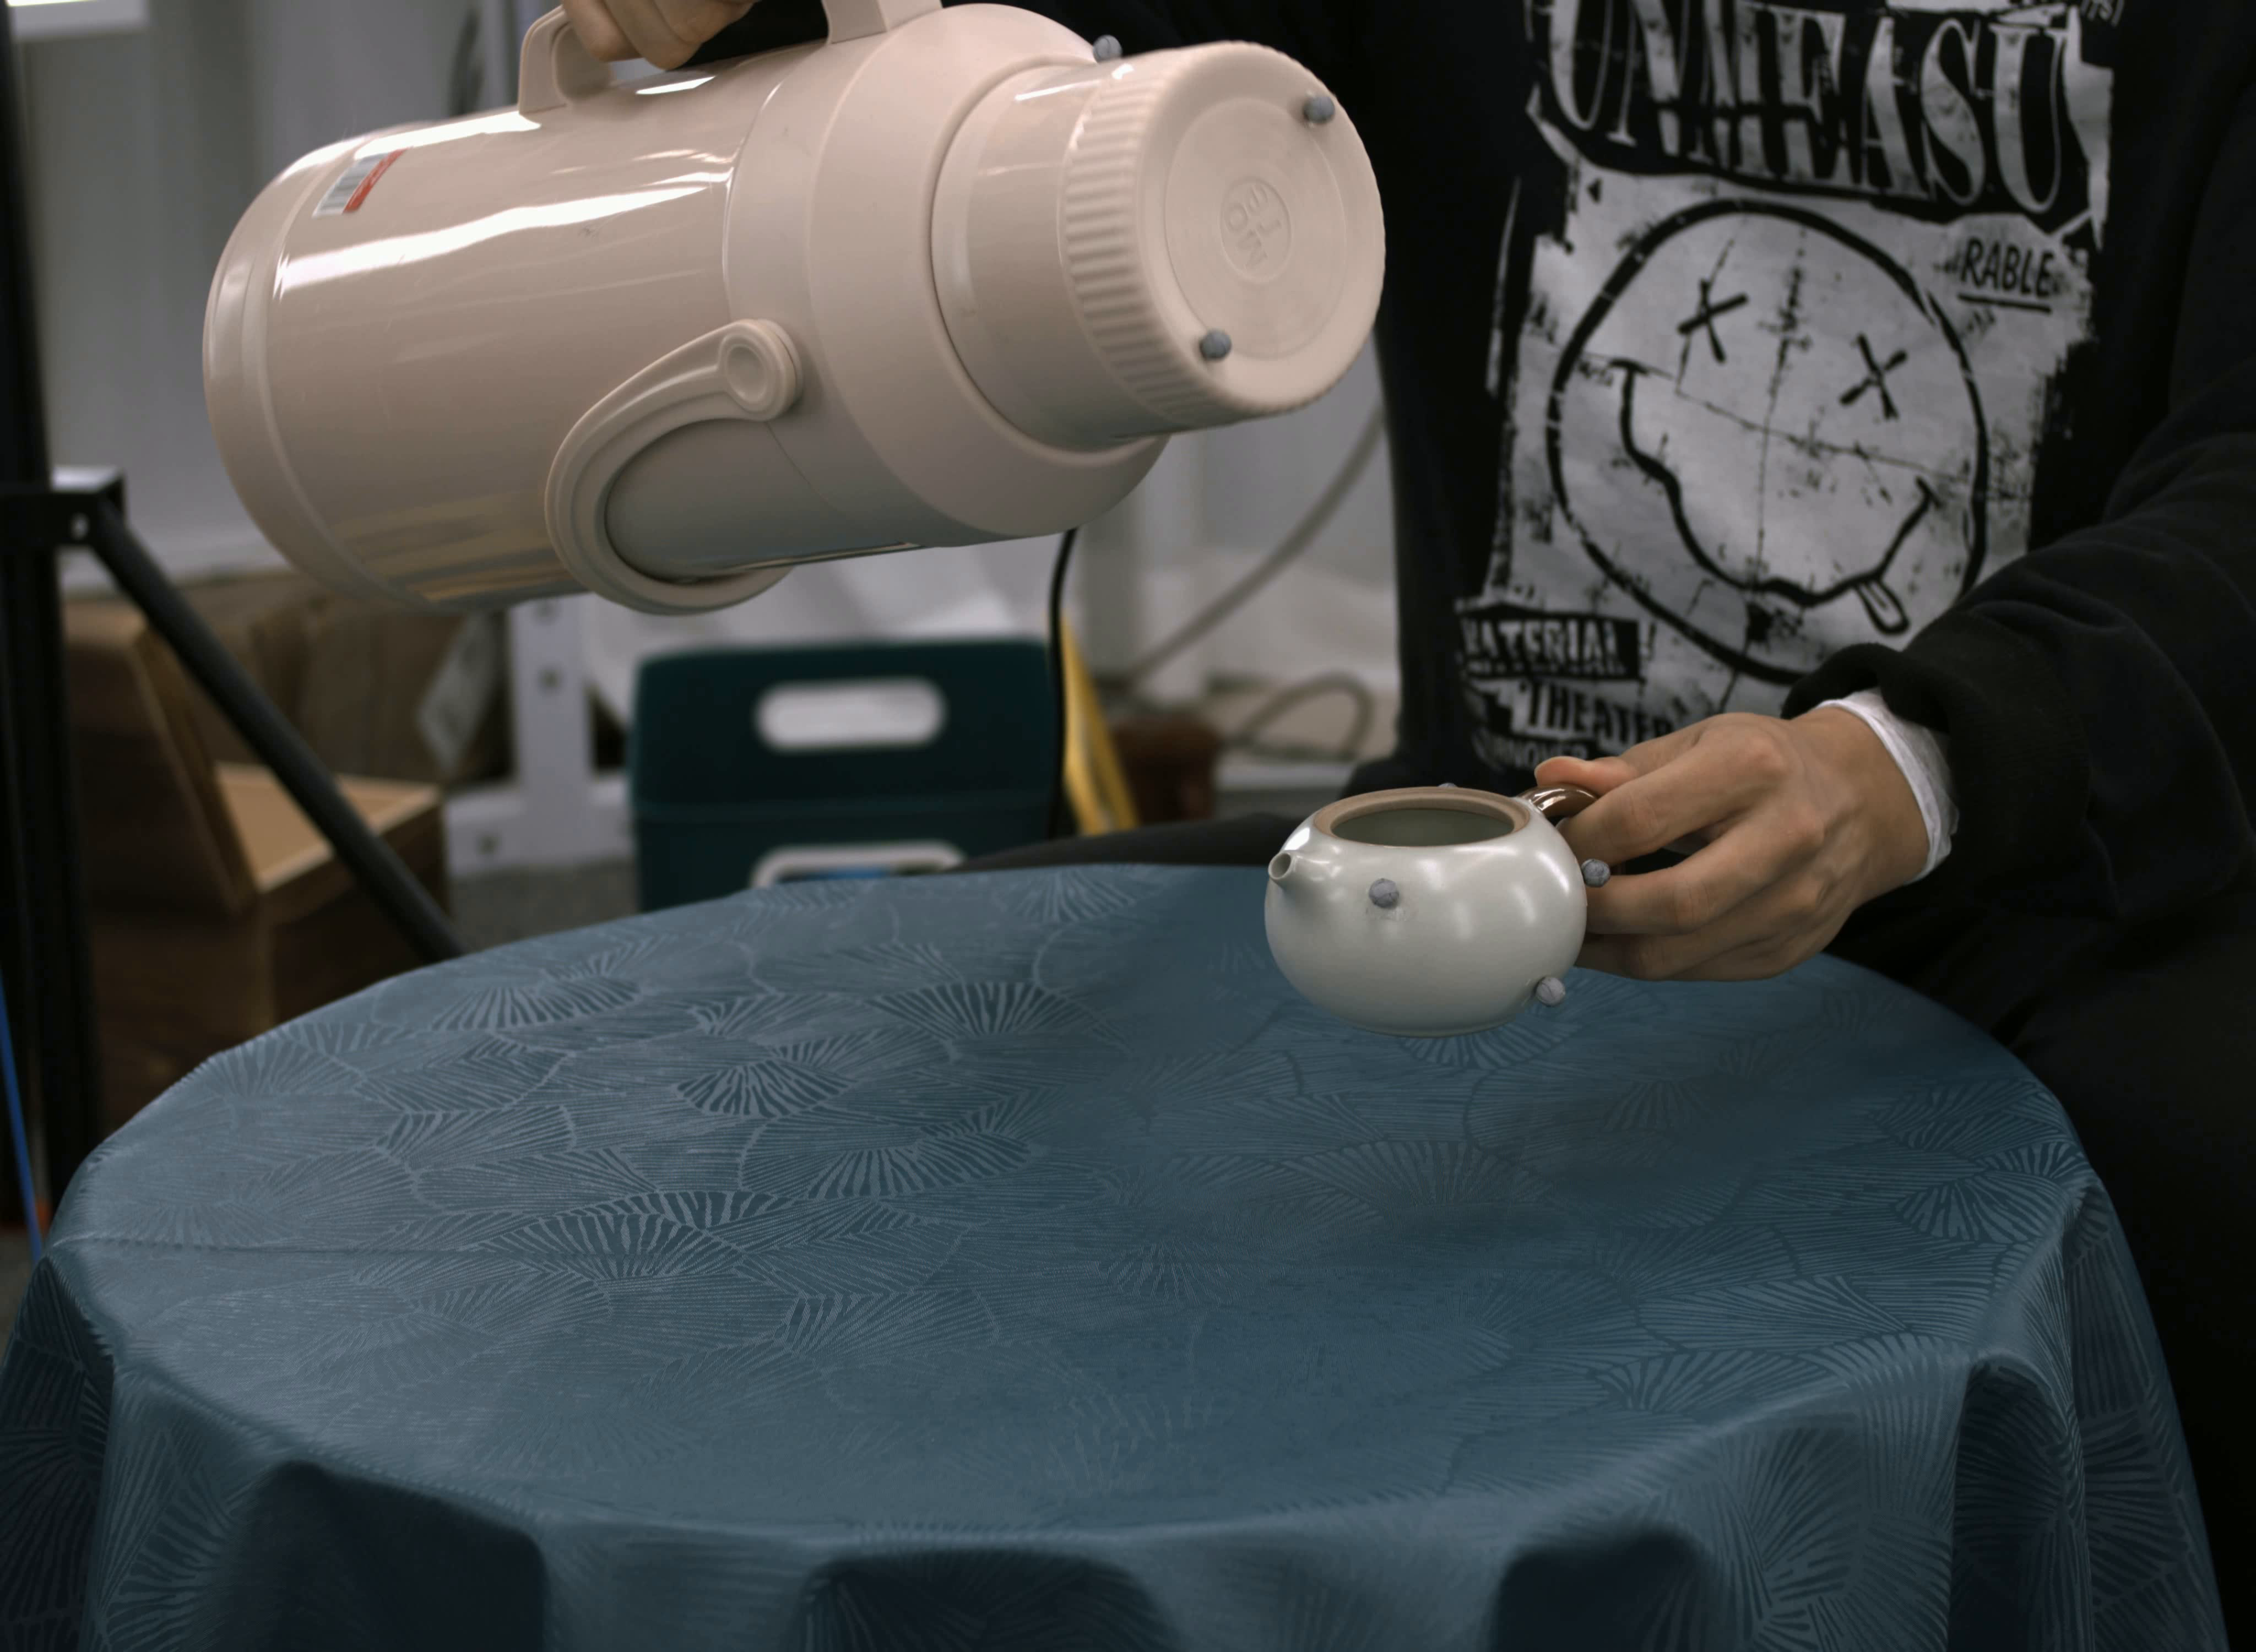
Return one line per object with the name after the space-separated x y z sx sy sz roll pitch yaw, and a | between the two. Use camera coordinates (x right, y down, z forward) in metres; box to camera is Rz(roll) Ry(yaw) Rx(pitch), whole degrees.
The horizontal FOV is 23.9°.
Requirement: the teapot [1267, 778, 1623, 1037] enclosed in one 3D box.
0.092 0.022 1.506 0.125 0.059 0.094 -15 17 -35 | teapot

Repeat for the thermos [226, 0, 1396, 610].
-0.102 -0.172 1.619 0.172 0.206 0.415 -29 17 -38 | thermos
